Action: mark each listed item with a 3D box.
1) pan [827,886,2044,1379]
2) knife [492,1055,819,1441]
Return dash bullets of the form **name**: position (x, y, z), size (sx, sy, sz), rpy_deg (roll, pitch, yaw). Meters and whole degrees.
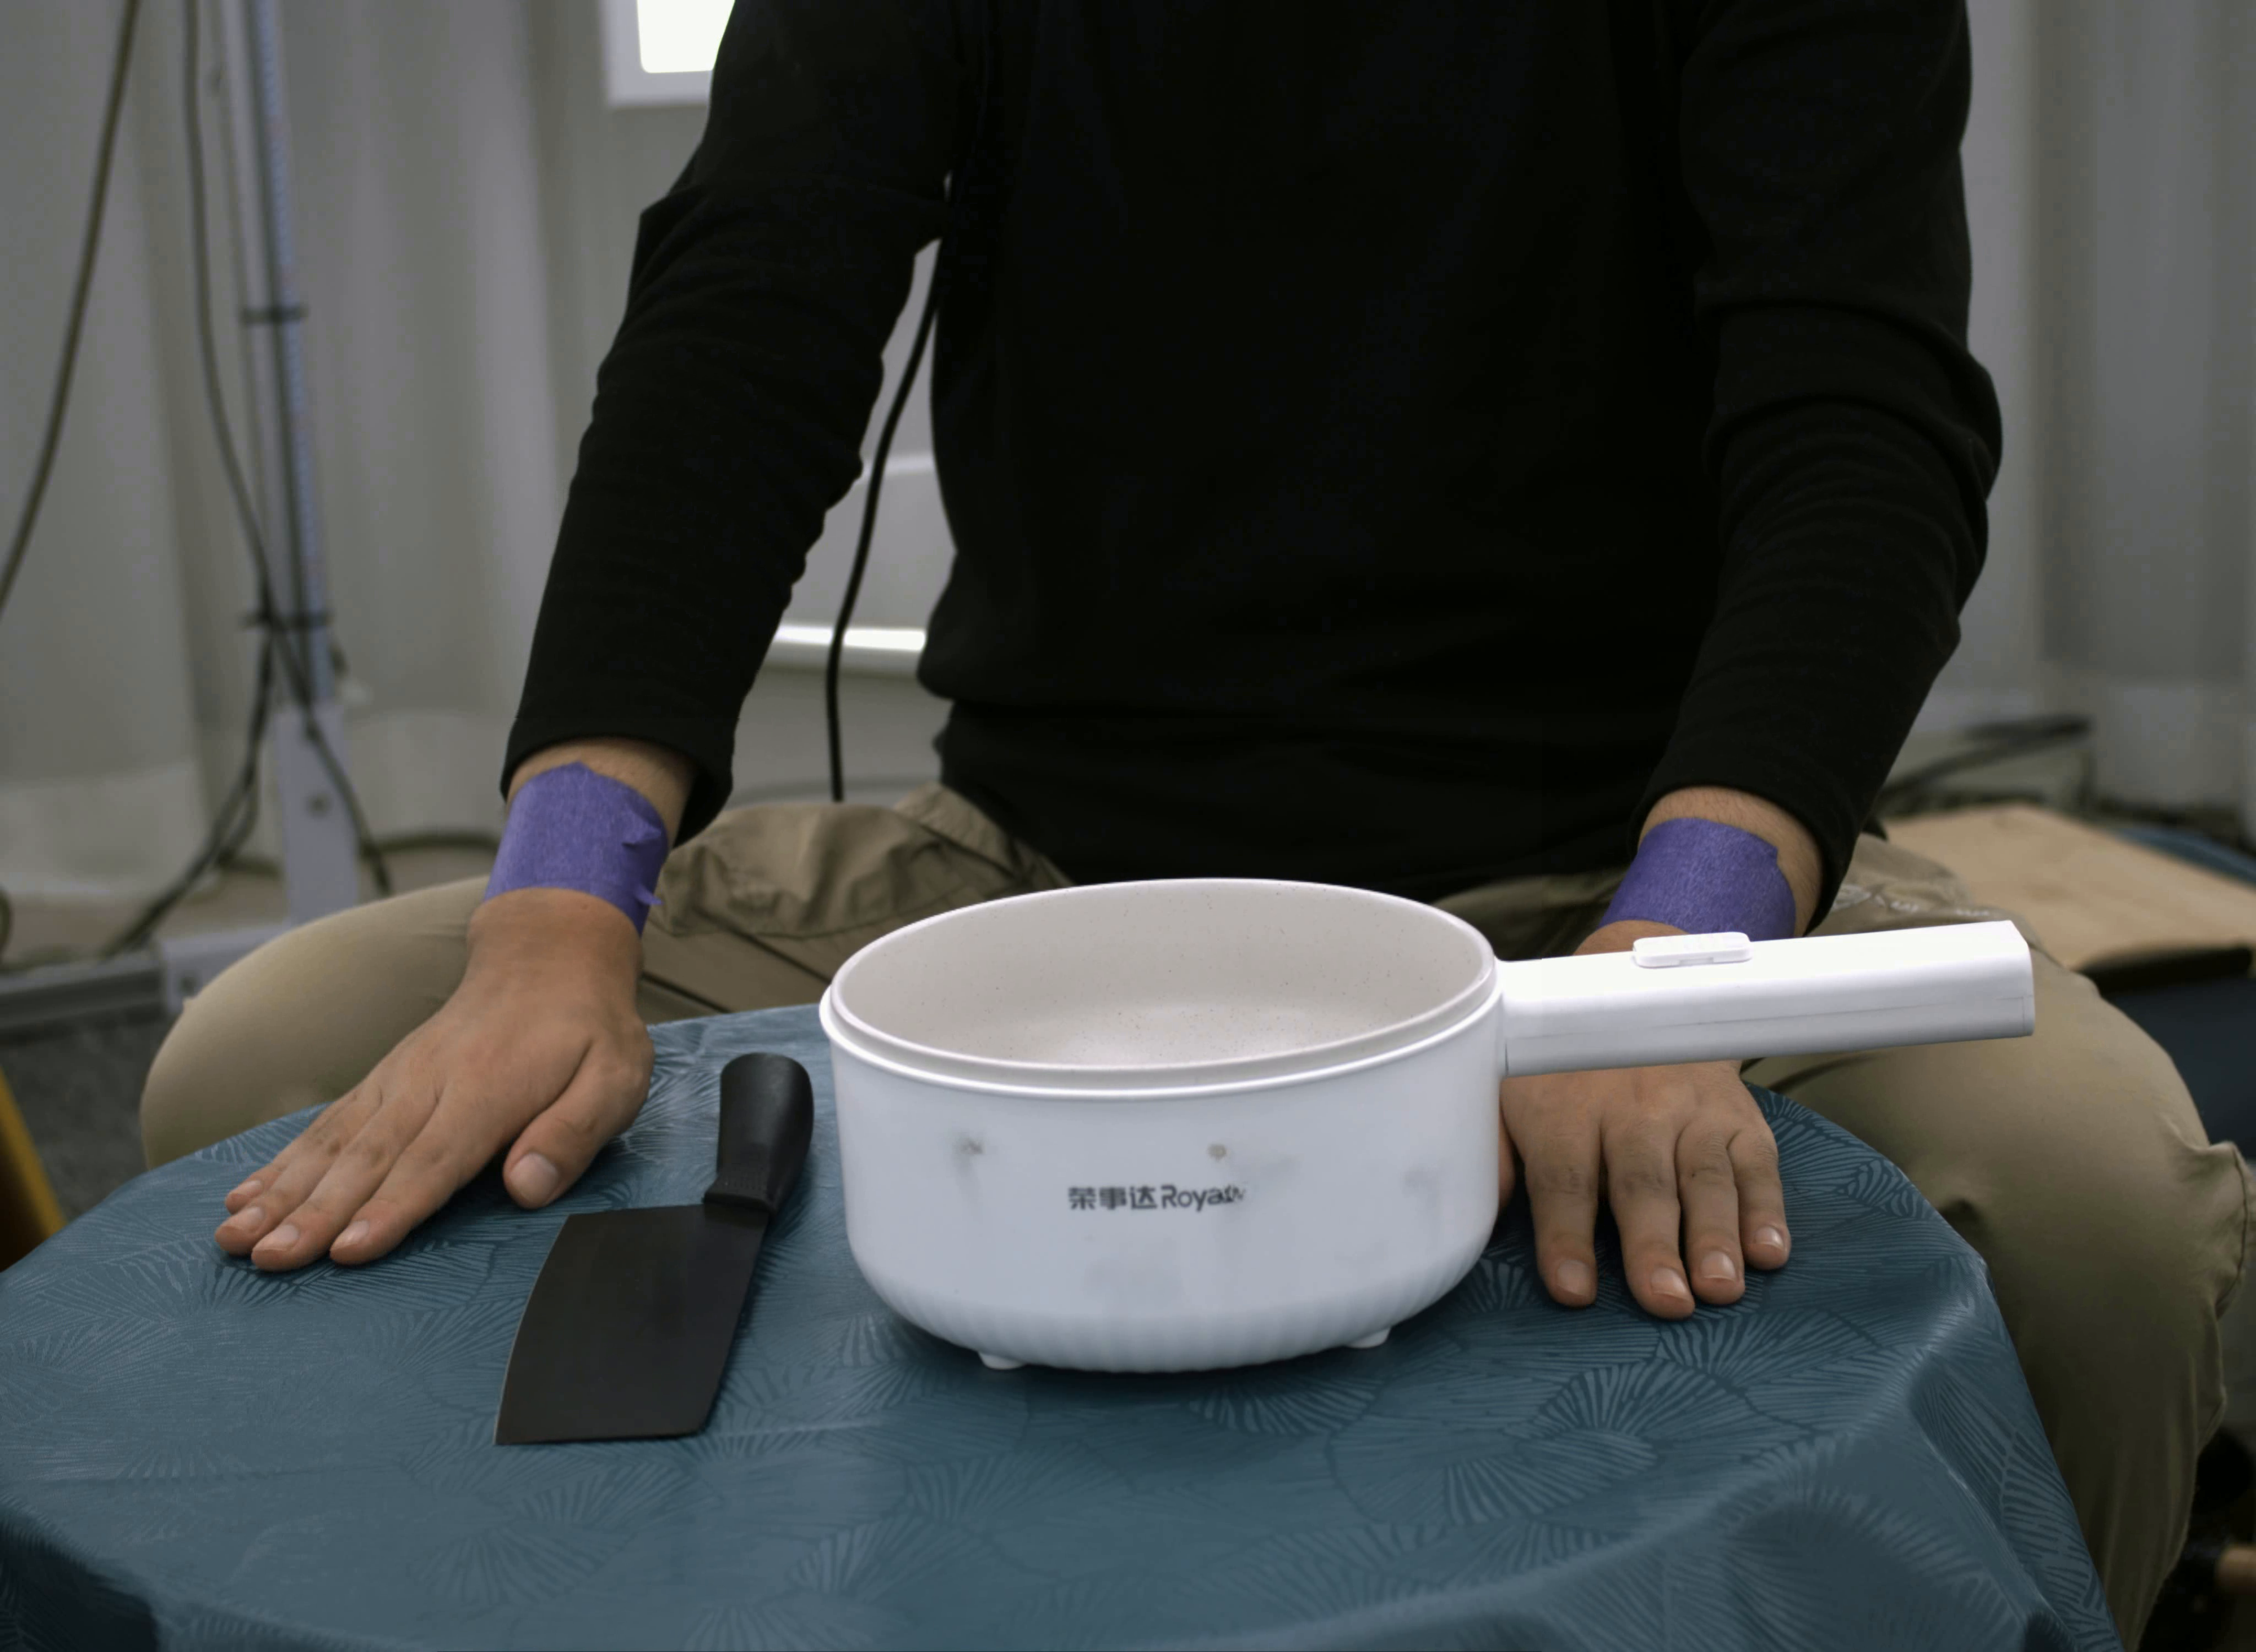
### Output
- **pan**: position (0.090, 0.089, 1.610), size (0.353, 0.102, 0.202), rpy_deg (-2, 14, -1)
- **knife**: position (-0.138, 0.128, 1.667), size (0.081, 0.021, 0.304), rpy_deg (-1, 17, 8)
